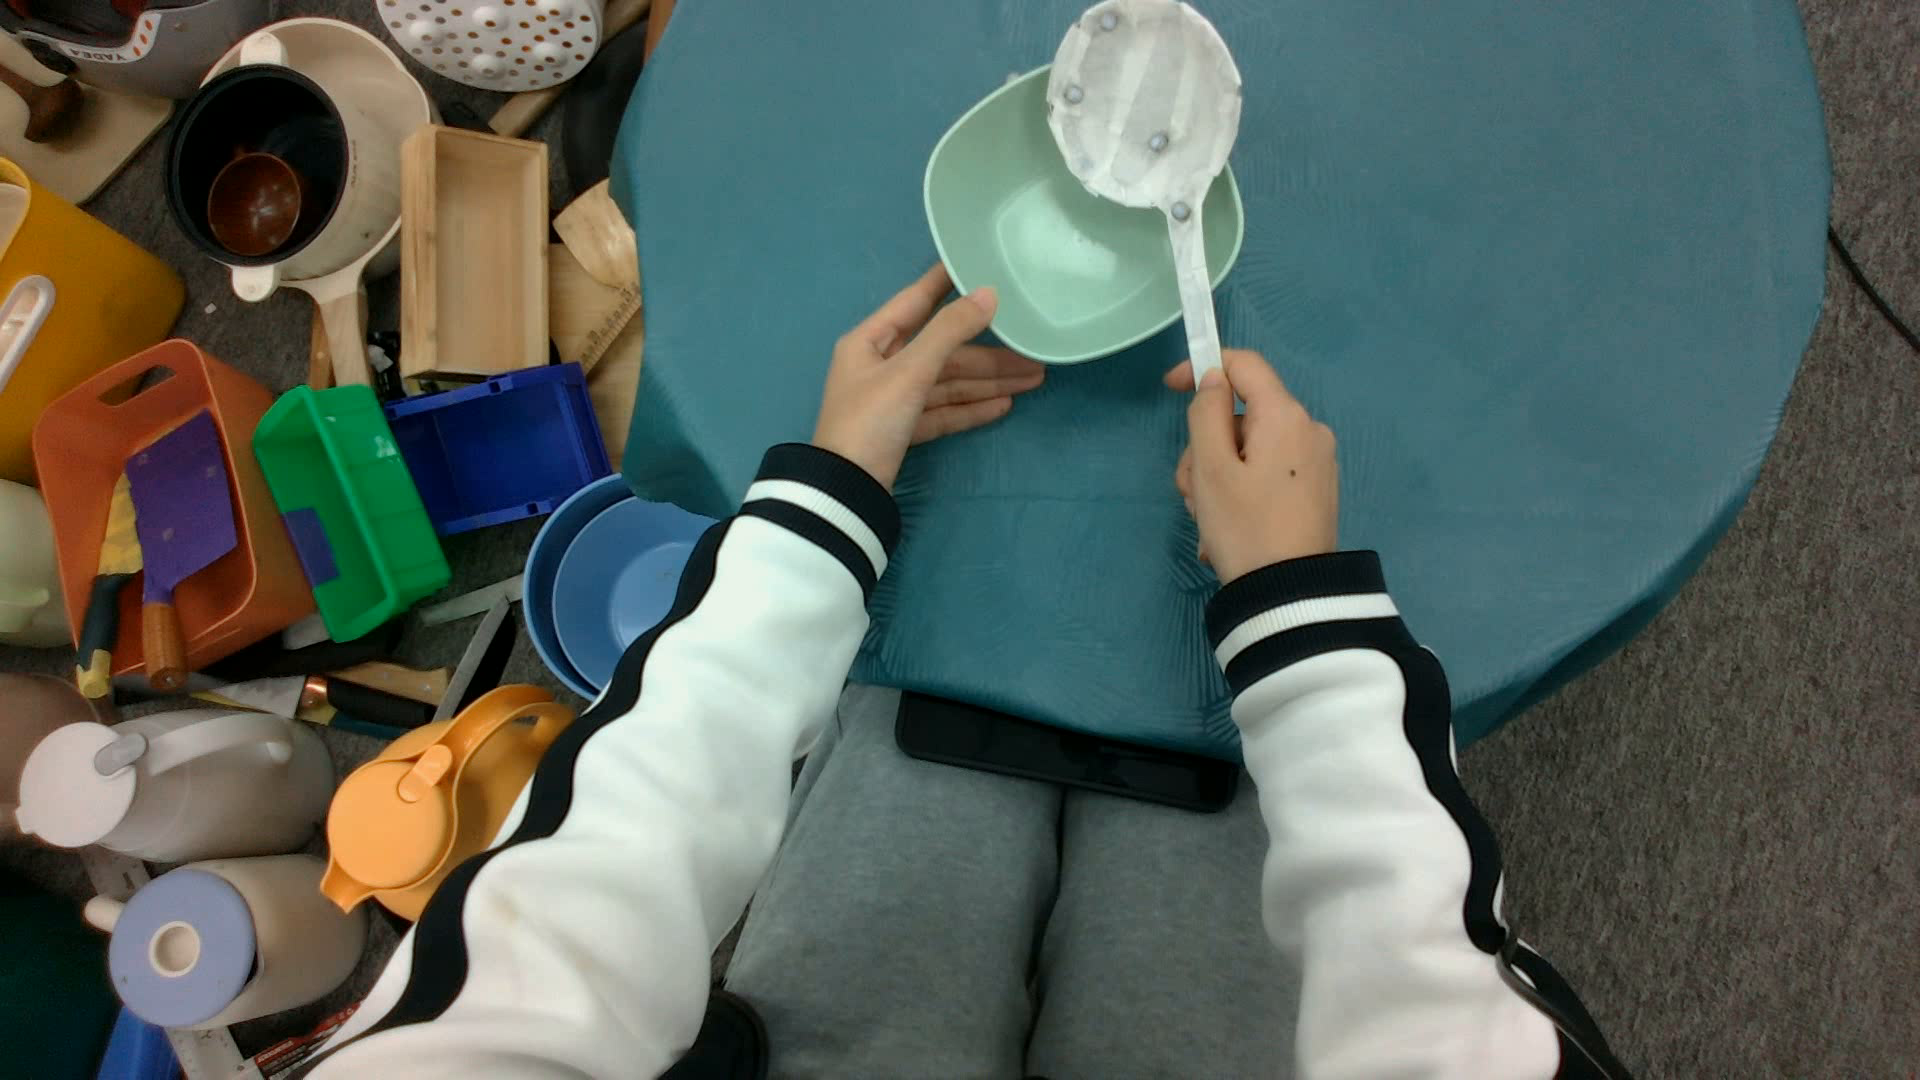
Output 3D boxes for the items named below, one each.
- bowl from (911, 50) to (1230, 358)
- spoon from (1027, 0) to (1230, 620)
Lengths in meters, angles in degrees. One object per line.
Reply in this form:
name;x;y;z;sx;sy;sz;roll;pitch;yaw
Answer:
bowl;0.053;-0.155;0.670;0.151;0.058;0.151;0;83;3
spoon;0.080;-0.103;0.612;0.100;0.059;0.278;-14;75;41
